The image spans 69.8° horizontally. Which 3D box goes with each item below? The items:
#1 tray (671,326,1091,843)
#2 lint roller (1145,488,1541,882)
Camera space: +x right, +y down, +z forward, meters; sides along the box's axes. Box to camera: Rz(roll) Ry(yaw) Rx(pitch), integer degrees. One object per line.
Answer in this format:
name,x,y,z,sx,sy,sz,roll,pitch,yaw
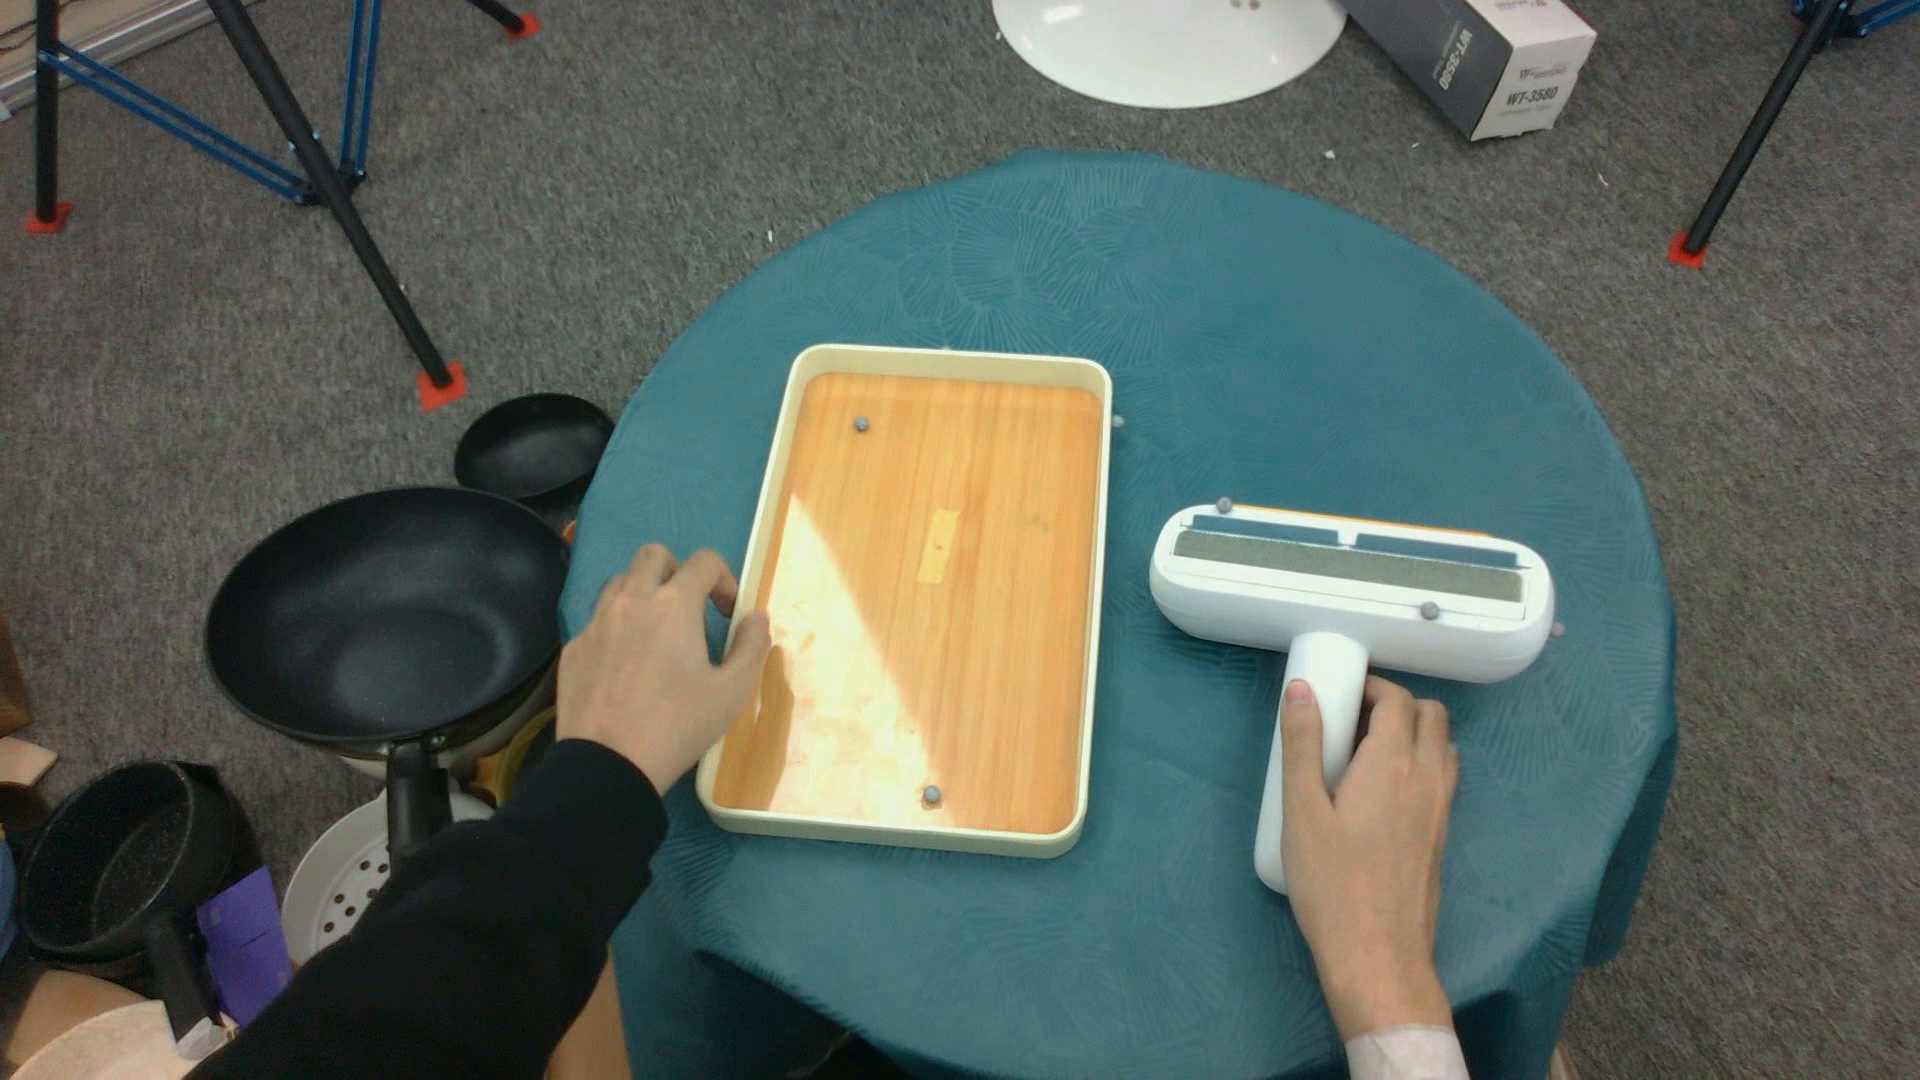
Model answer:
tray,-0.032,0.010,0.739,0.191,0.027,0.301,4,57,5
lint roller,0.168,0.070,0.672,0.192,0.074,0.193,14,60,18
